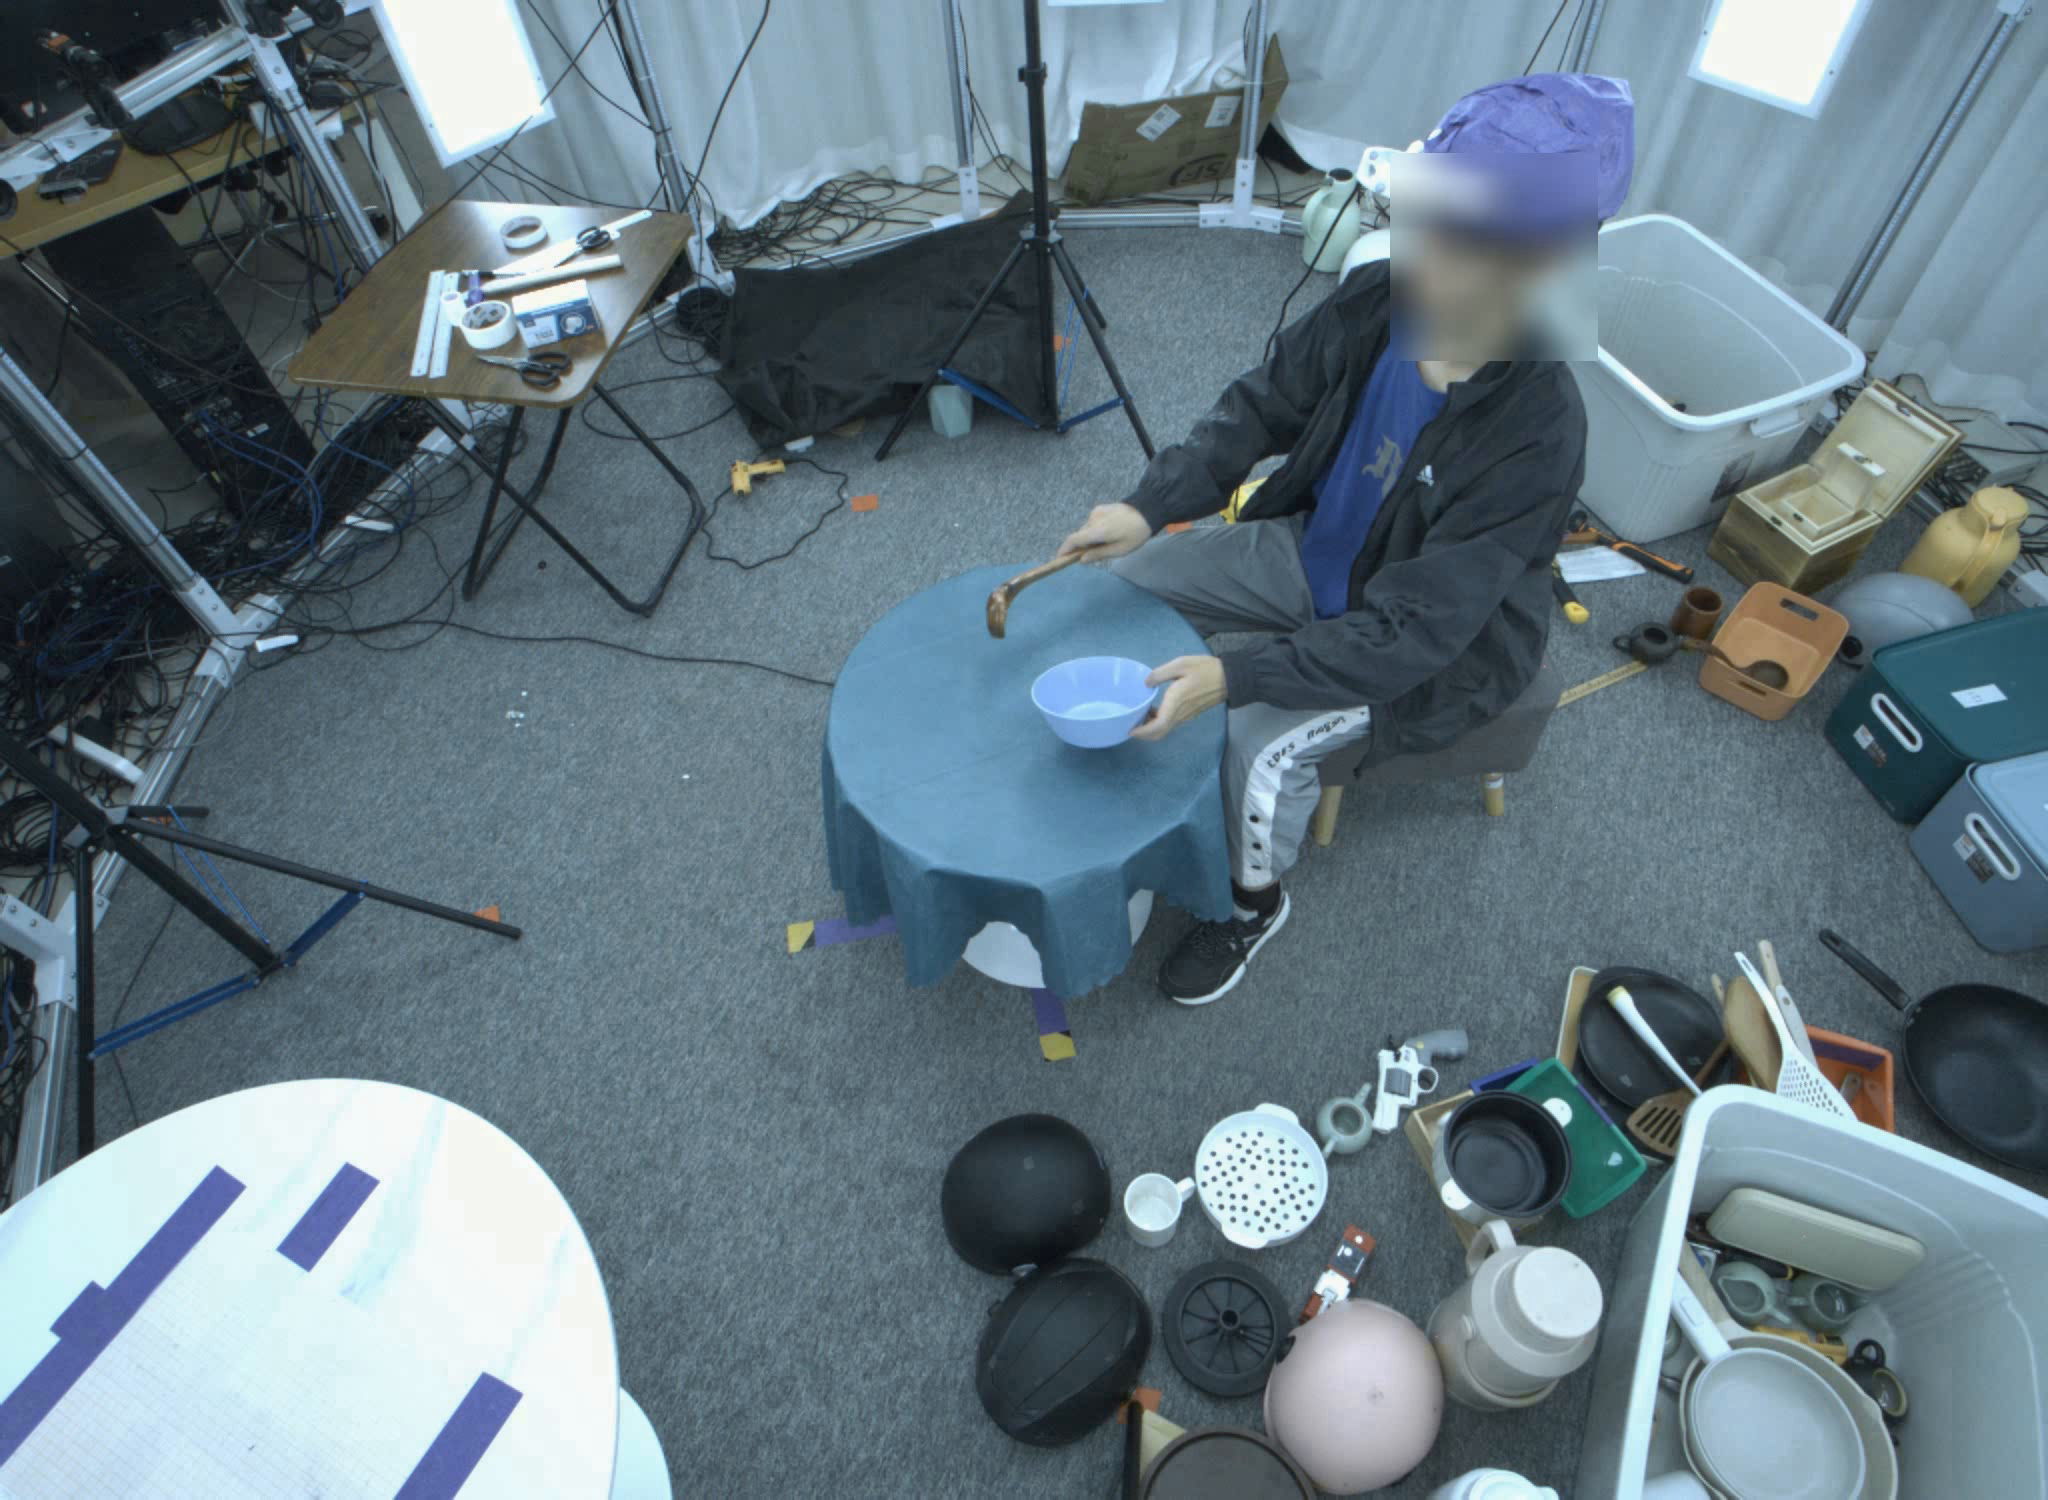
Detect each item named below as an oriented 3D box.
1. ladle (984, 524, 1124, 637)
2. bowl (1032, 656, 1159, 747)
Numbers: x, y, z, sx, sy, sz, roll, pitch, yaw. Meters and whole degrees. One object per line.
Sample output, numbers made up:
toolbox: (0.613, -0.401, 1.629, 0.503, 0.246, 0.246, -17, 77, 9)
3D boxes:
ladle: (0.054, -0.257, 1.843, 0.276, 0.082, 0.076, -28, 75, -18)
bowl: (0.100, -0.061, 1.704, 0.176, 0.071, 0.174, -3, 32, 3)
